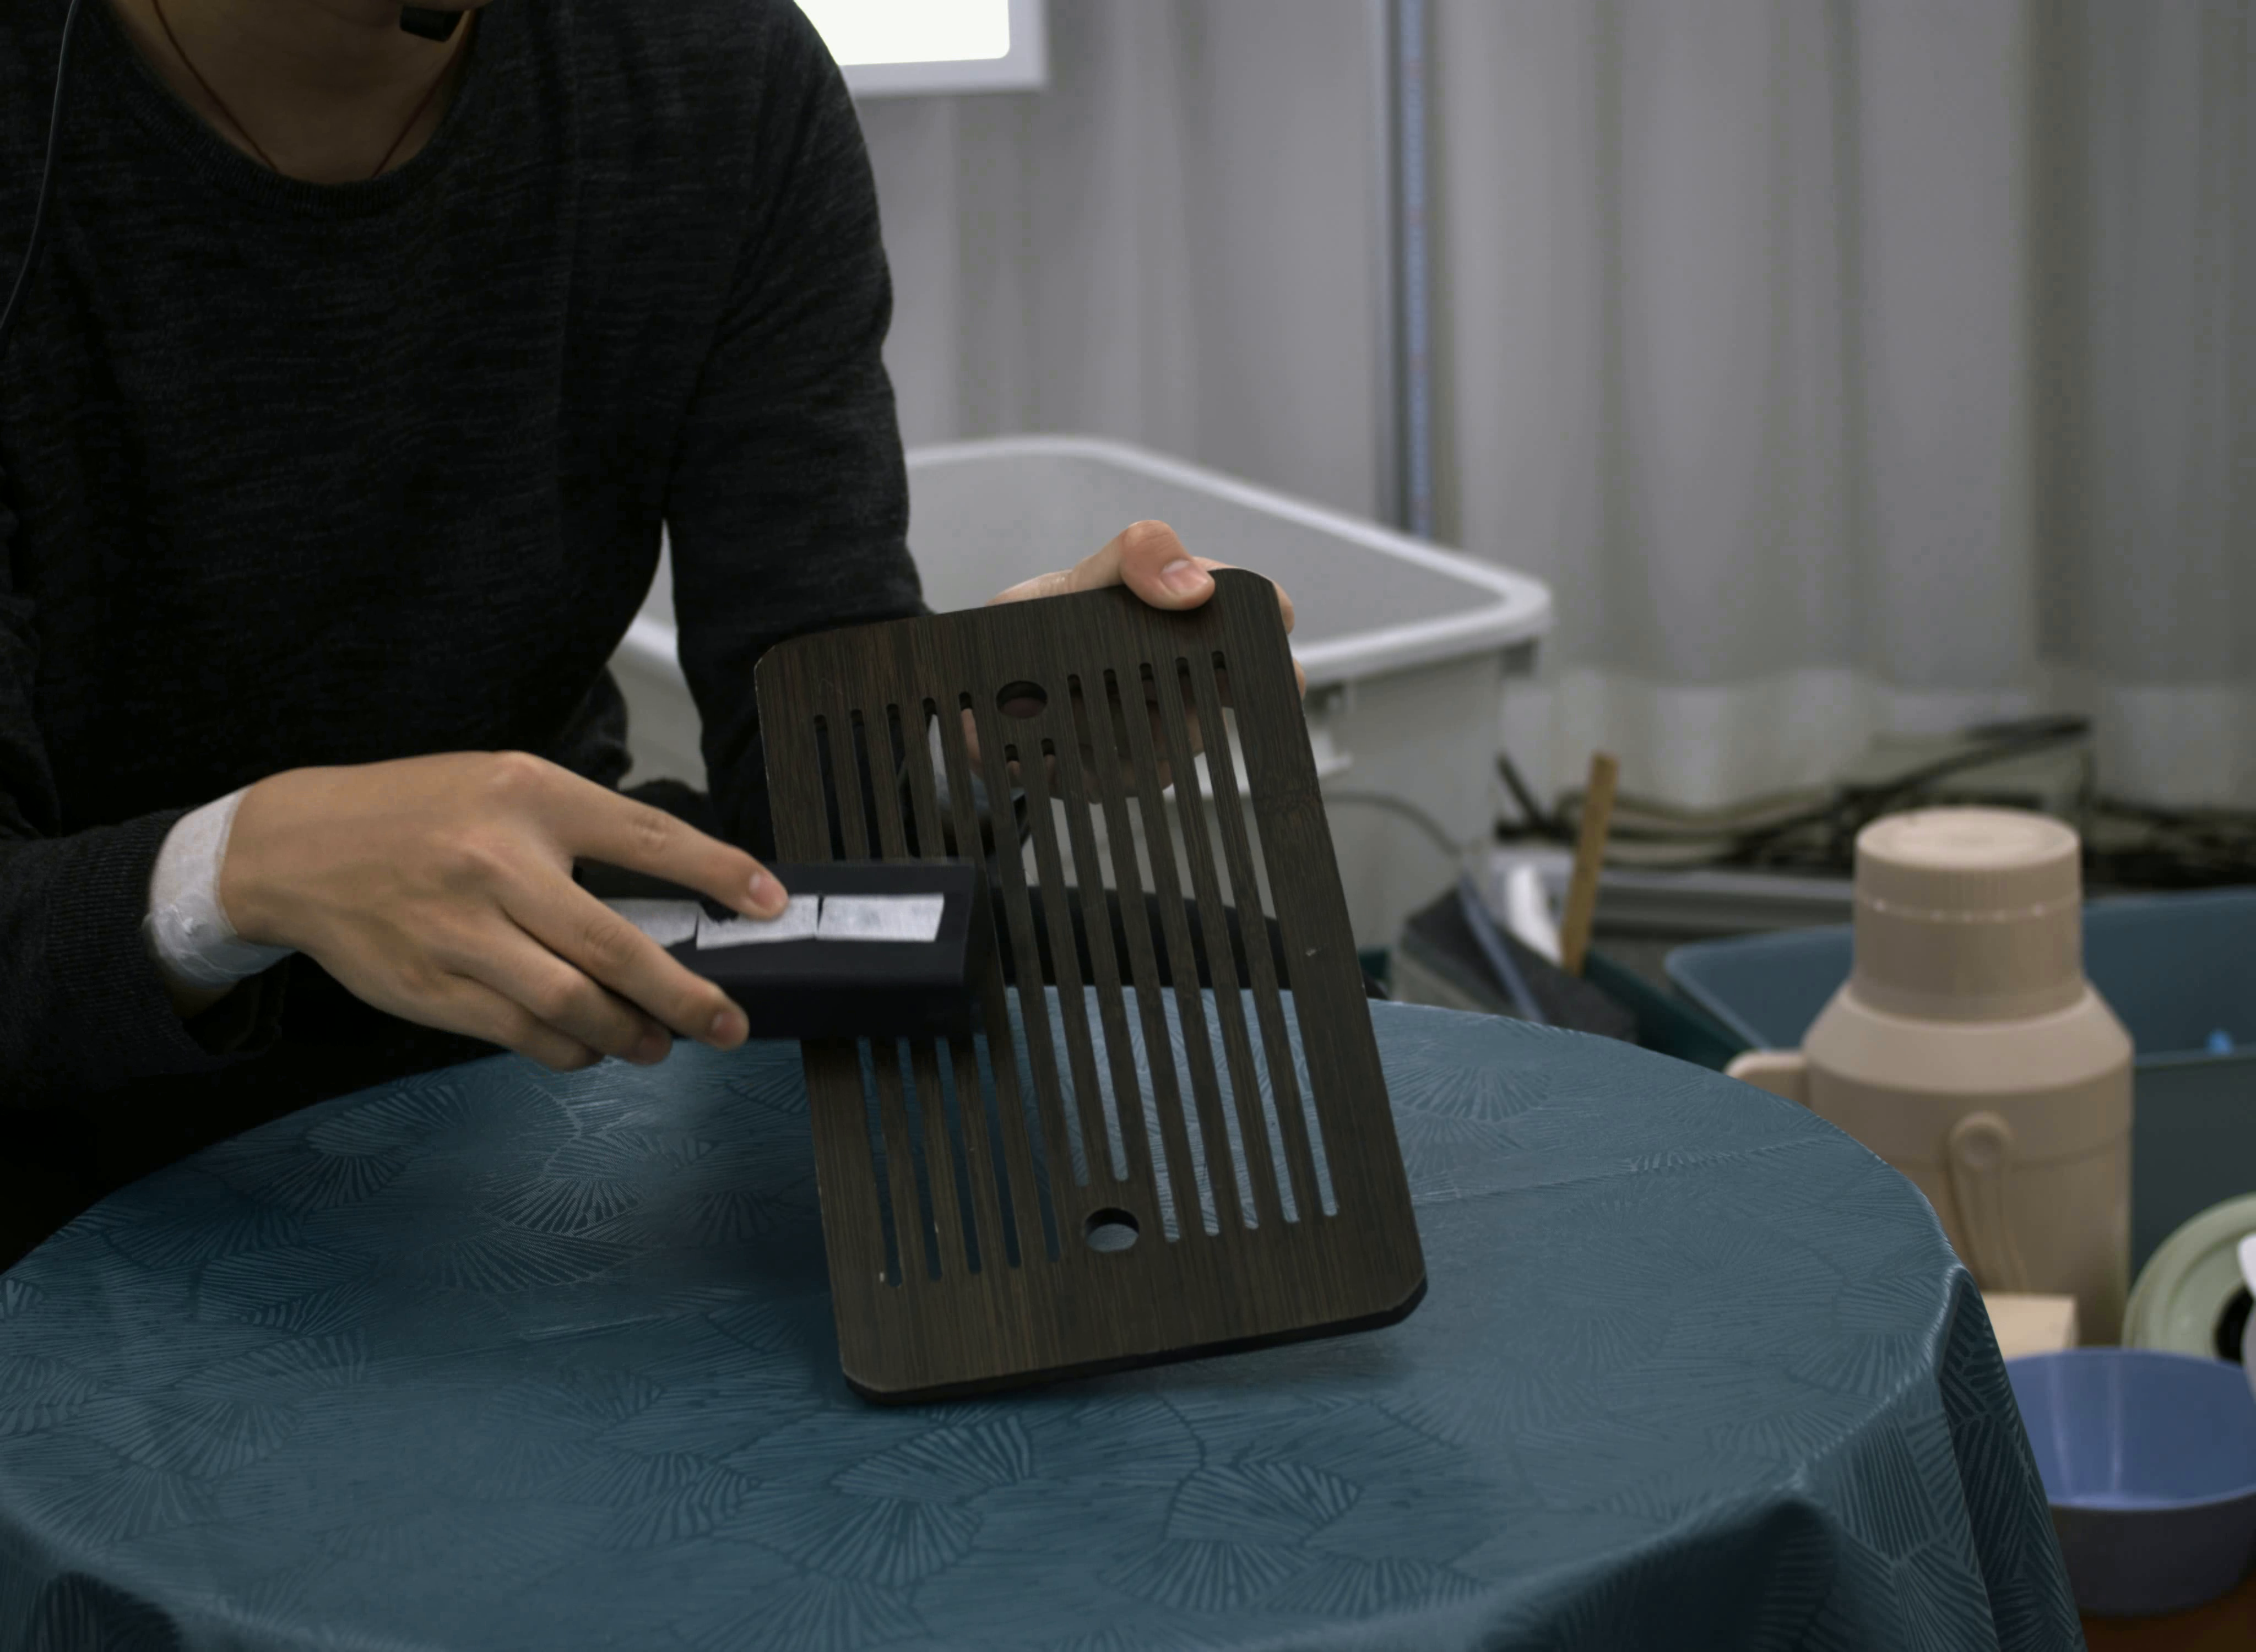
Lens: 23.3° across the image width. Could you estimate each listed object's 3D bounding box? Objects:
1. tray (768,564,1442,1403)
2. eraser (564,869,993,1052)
[{"bbox_3d":[-0.012,0.042,1.648,0.169,0.018,0.311,-9,46,-1],"label":"tray"},{"bbox_3d":[-0.103,0.040,1.635,0.125,0.030,0.054,-2,45,8],"label":"eraser"}]
